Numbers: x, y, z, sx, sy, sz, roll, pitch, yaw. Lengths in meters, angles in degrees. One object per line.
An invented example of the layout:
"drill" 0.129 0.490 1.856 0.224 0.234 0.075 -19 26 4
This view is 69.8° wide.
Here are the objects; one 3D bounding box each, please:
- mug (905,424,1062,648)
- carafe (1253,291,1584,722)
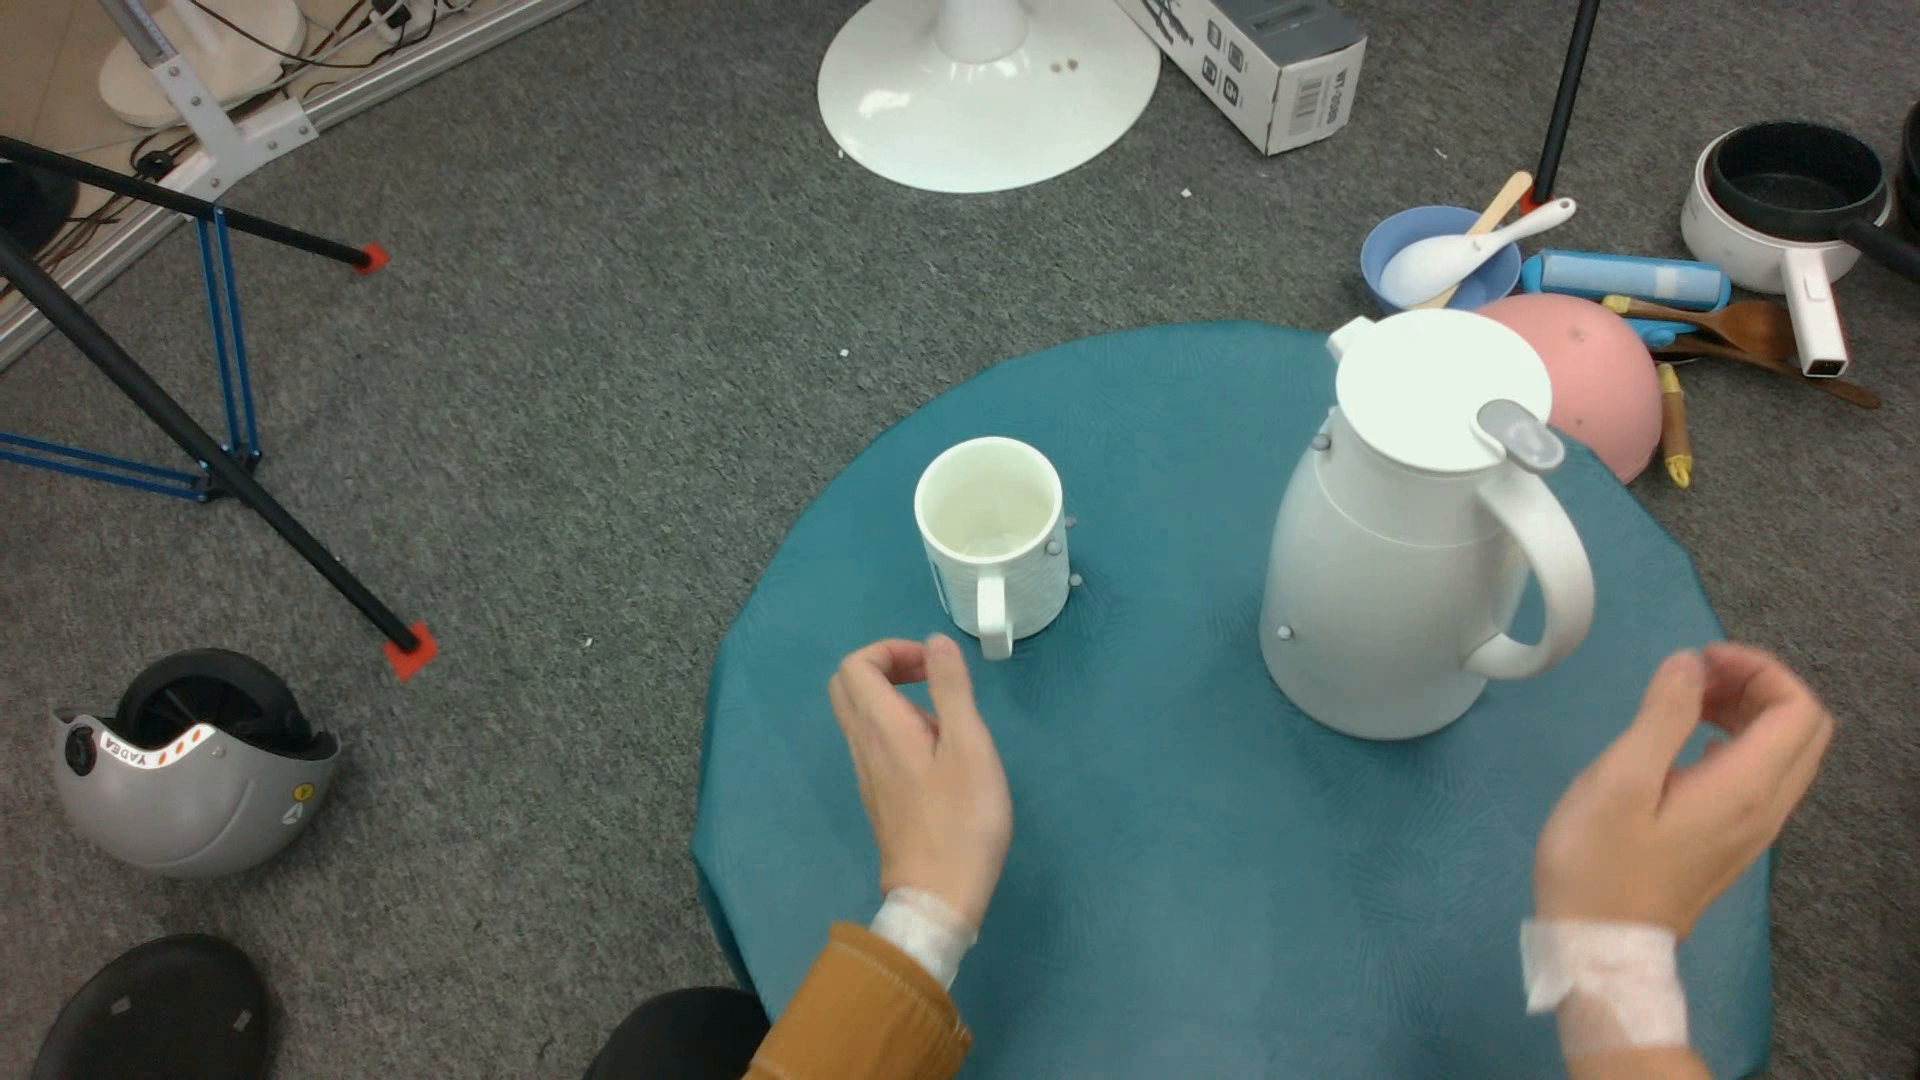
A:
"mug" 0.017 0.008 0.815 0.085 0.101 0.119 -6 58 5
"carafe" 0.238 -0.005 0.707 0.133 0.247 0.168 -33 60 -14
